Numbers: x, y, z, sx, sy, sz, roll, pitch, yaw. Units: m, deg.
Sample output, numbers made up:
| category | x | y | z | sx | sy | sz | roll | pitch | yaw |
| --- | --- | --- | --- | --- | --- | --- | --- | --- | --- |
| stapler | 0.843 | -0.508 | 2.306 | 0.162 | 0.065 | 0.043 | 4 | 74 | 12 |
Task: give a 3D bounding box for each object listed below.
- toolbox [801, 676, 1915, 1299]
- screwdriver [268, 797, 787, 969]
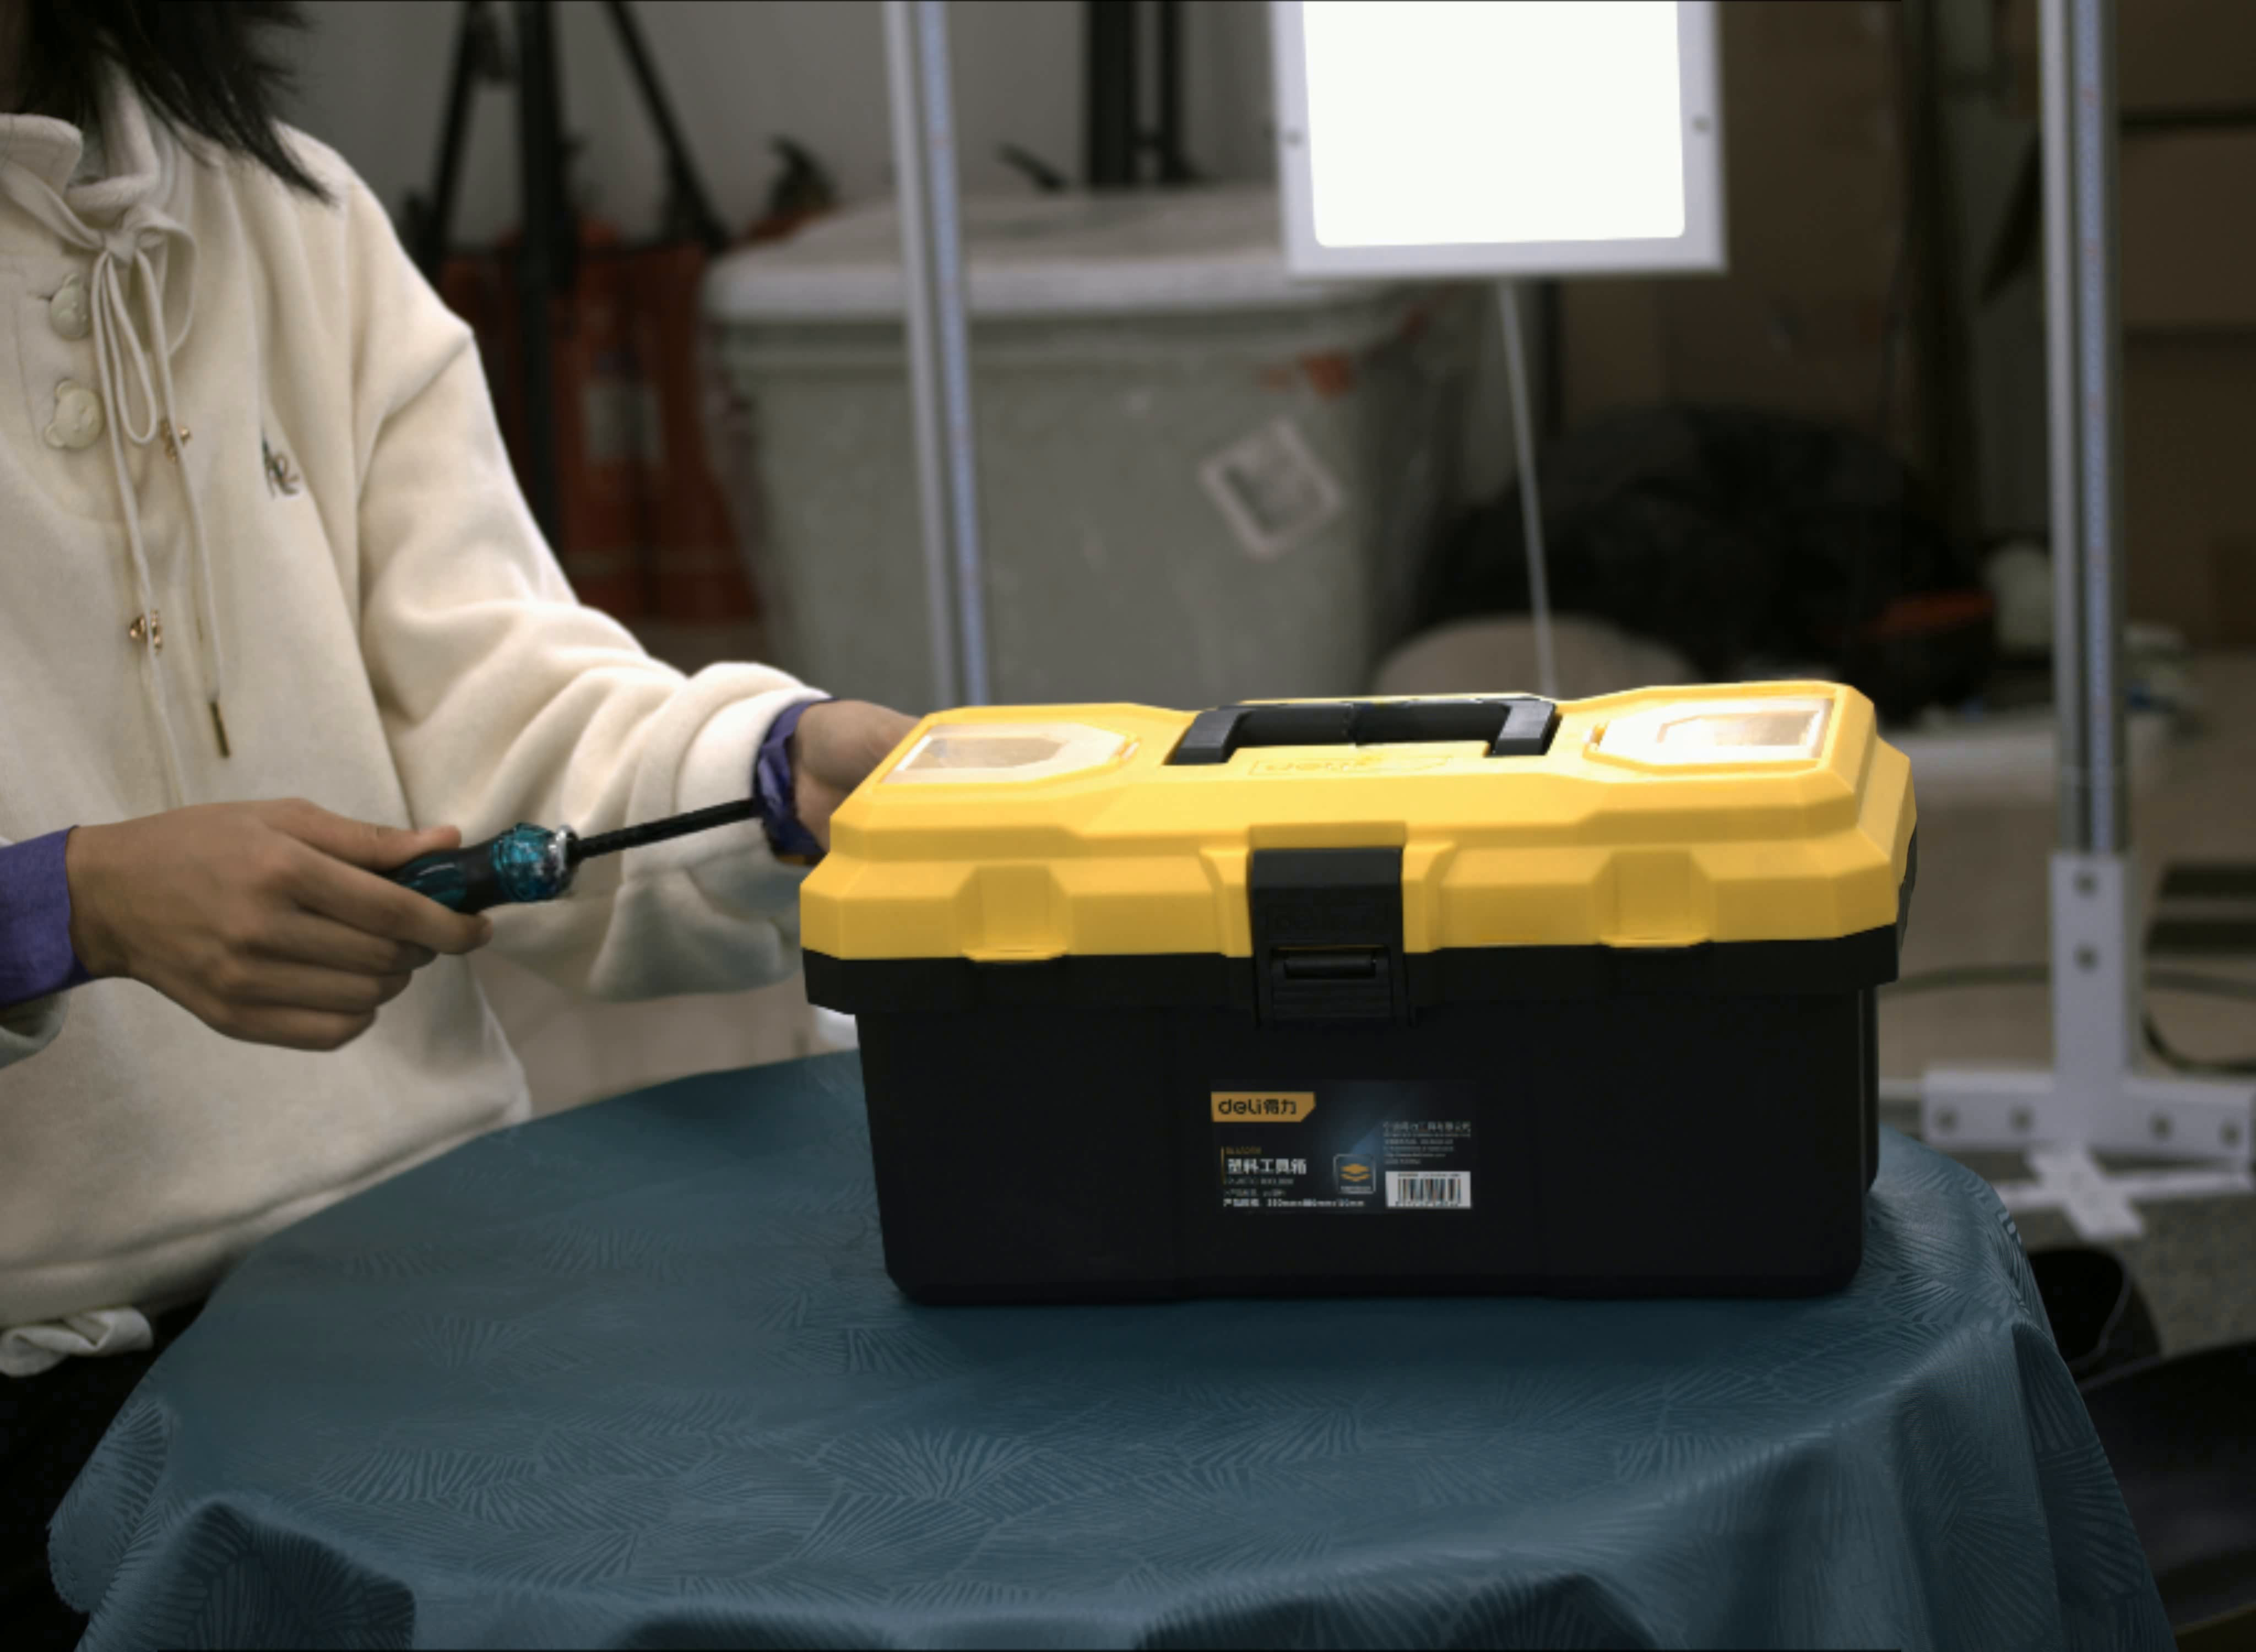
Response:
| category | x | y | z | sx | sy | sz | roll | pitch | yaw |
| --- | --- | --- | --- | --- | --- | --- | --- | --- | --- |
| toolbox | 0.081 | 0.054 | 1.799 | 0.354 | 0.173 | 0.179 | -1 | 14 | 14 |
| screwdriver | -0.196 | 0.015 | 1.809 | 0.193 | 0.034 | 0.033 | -14 | 9 | 22 |
